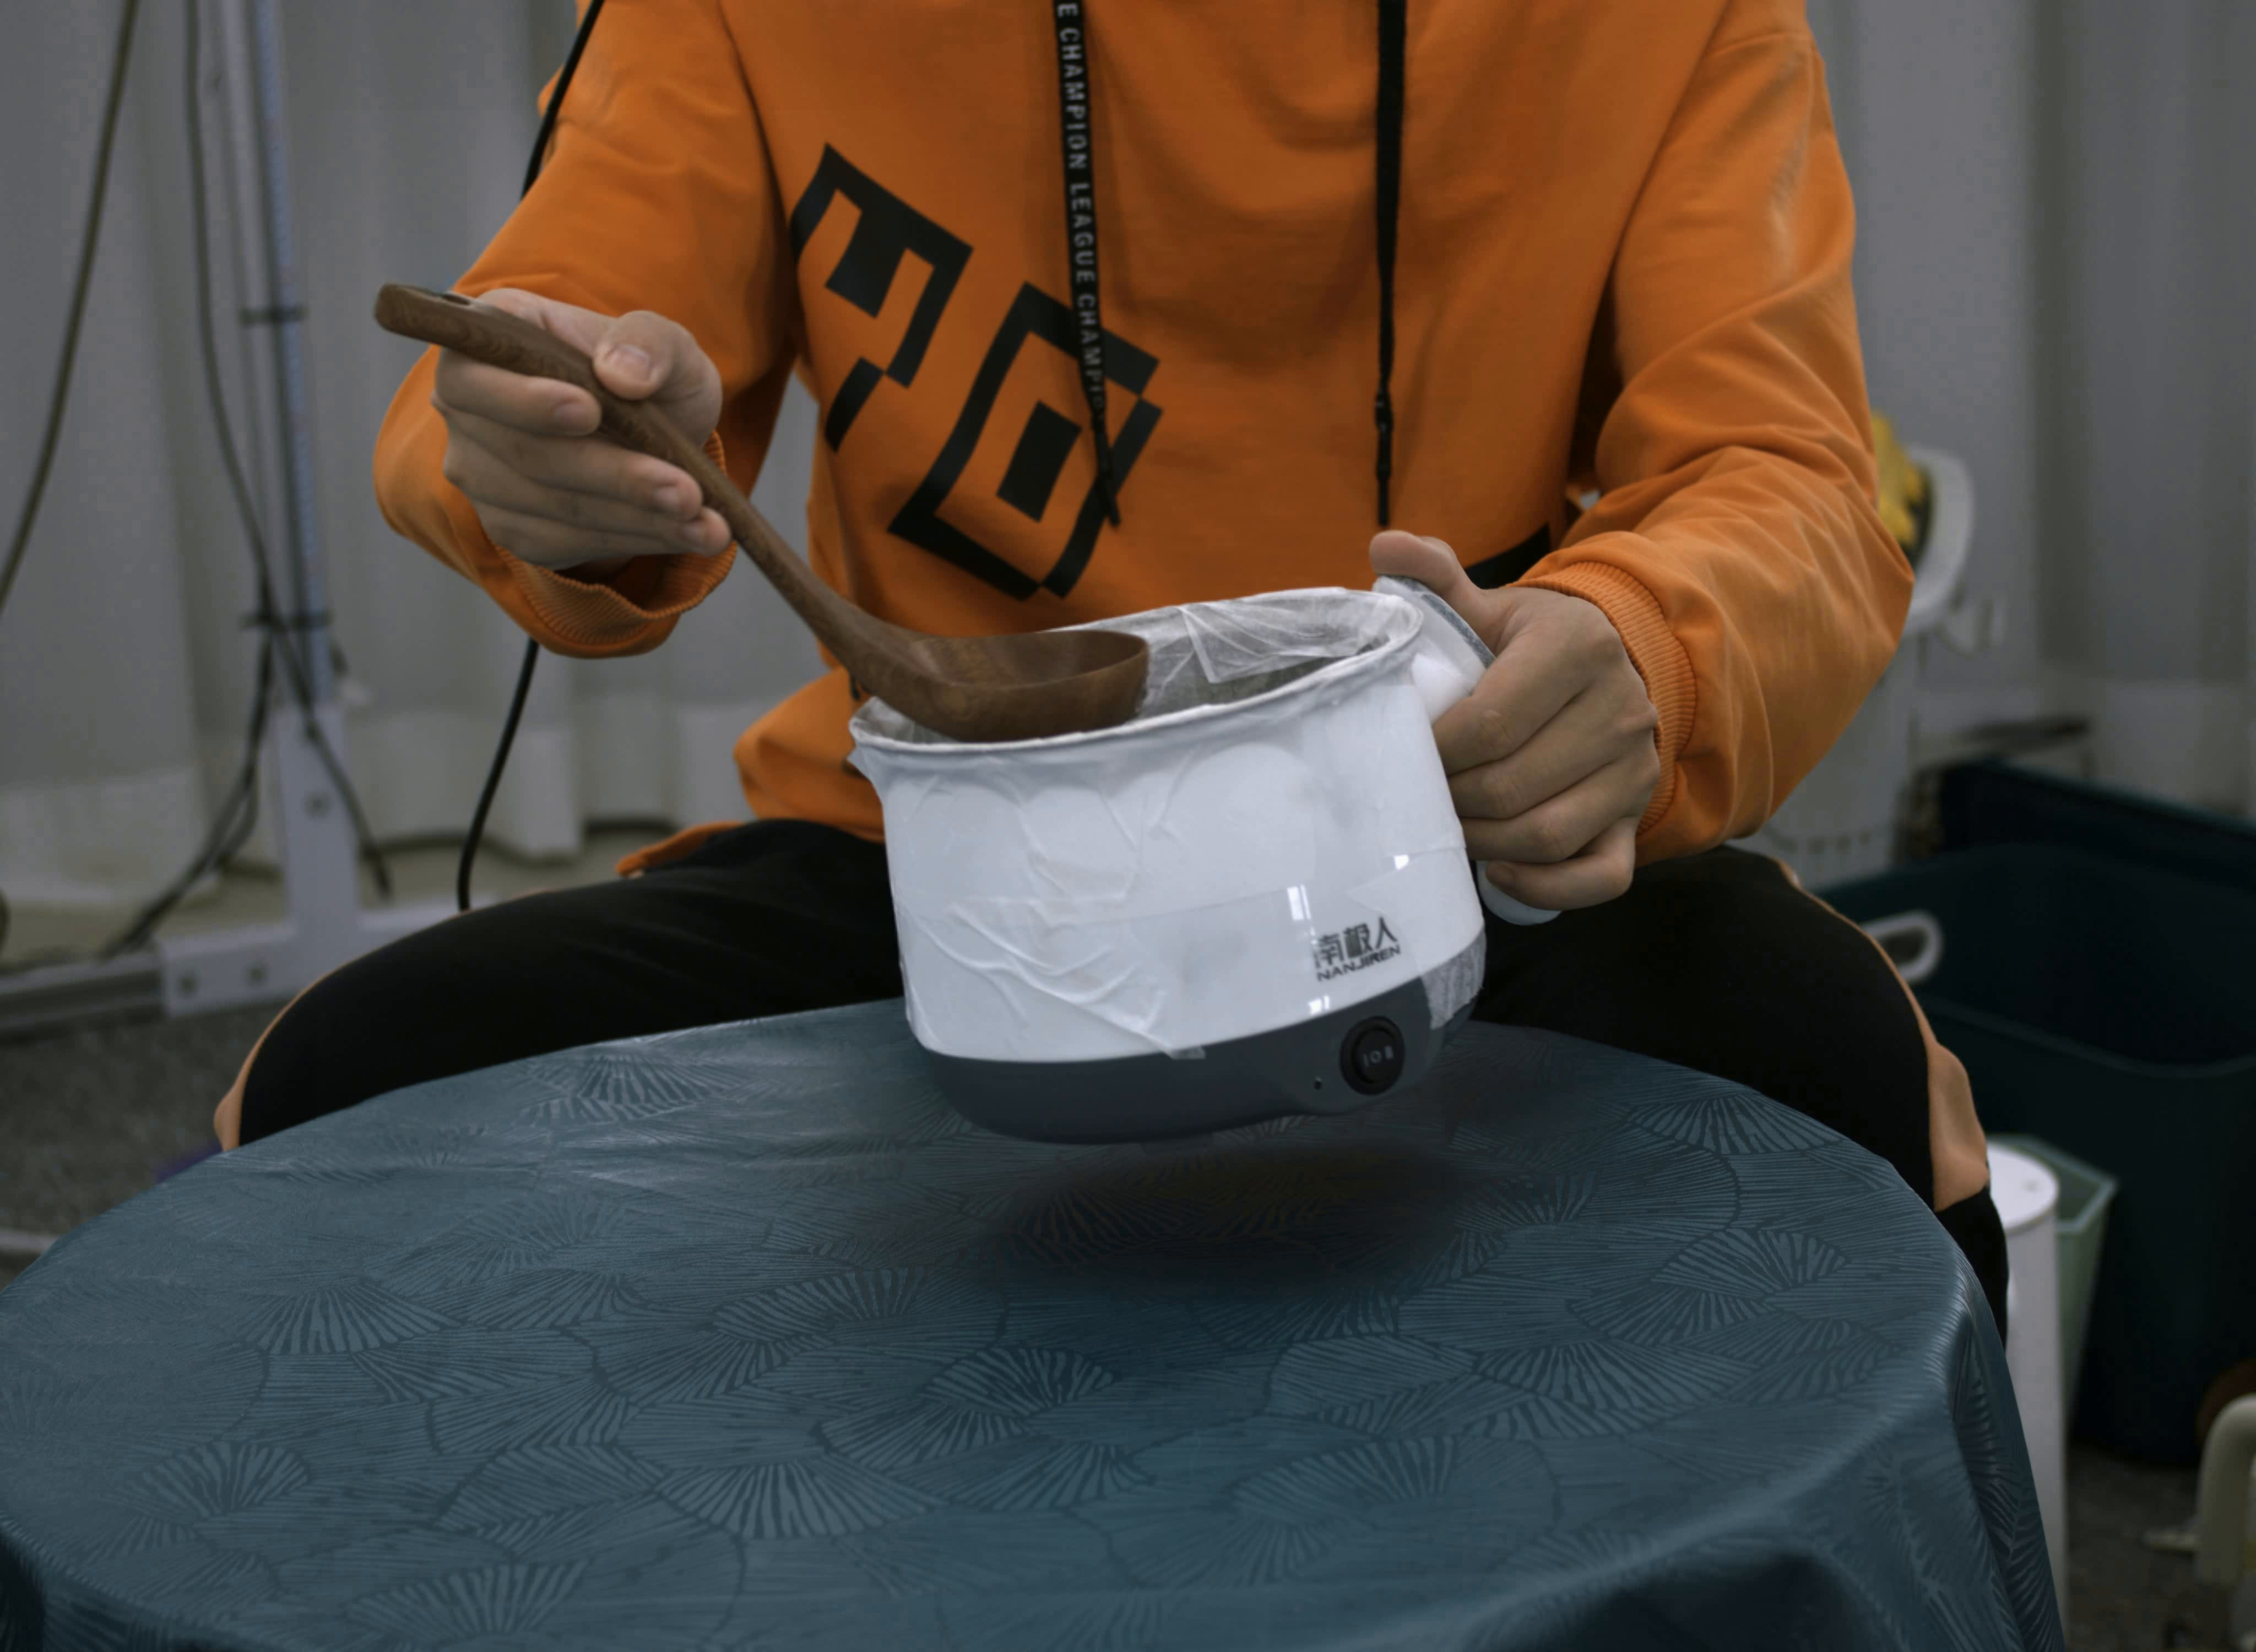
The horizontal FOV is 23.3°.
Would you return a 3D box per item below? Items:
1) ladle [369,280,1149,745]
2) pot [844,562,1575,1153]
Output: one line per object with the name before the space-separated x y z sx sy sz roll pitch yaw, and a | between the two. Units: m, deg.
ladle | -0.109 -0.102 1.647 0.260 0.065 0.077 38 11 -1
pot | 0.035 0.004 1.675 0.233 0.136 0.179 -20 16 -33
